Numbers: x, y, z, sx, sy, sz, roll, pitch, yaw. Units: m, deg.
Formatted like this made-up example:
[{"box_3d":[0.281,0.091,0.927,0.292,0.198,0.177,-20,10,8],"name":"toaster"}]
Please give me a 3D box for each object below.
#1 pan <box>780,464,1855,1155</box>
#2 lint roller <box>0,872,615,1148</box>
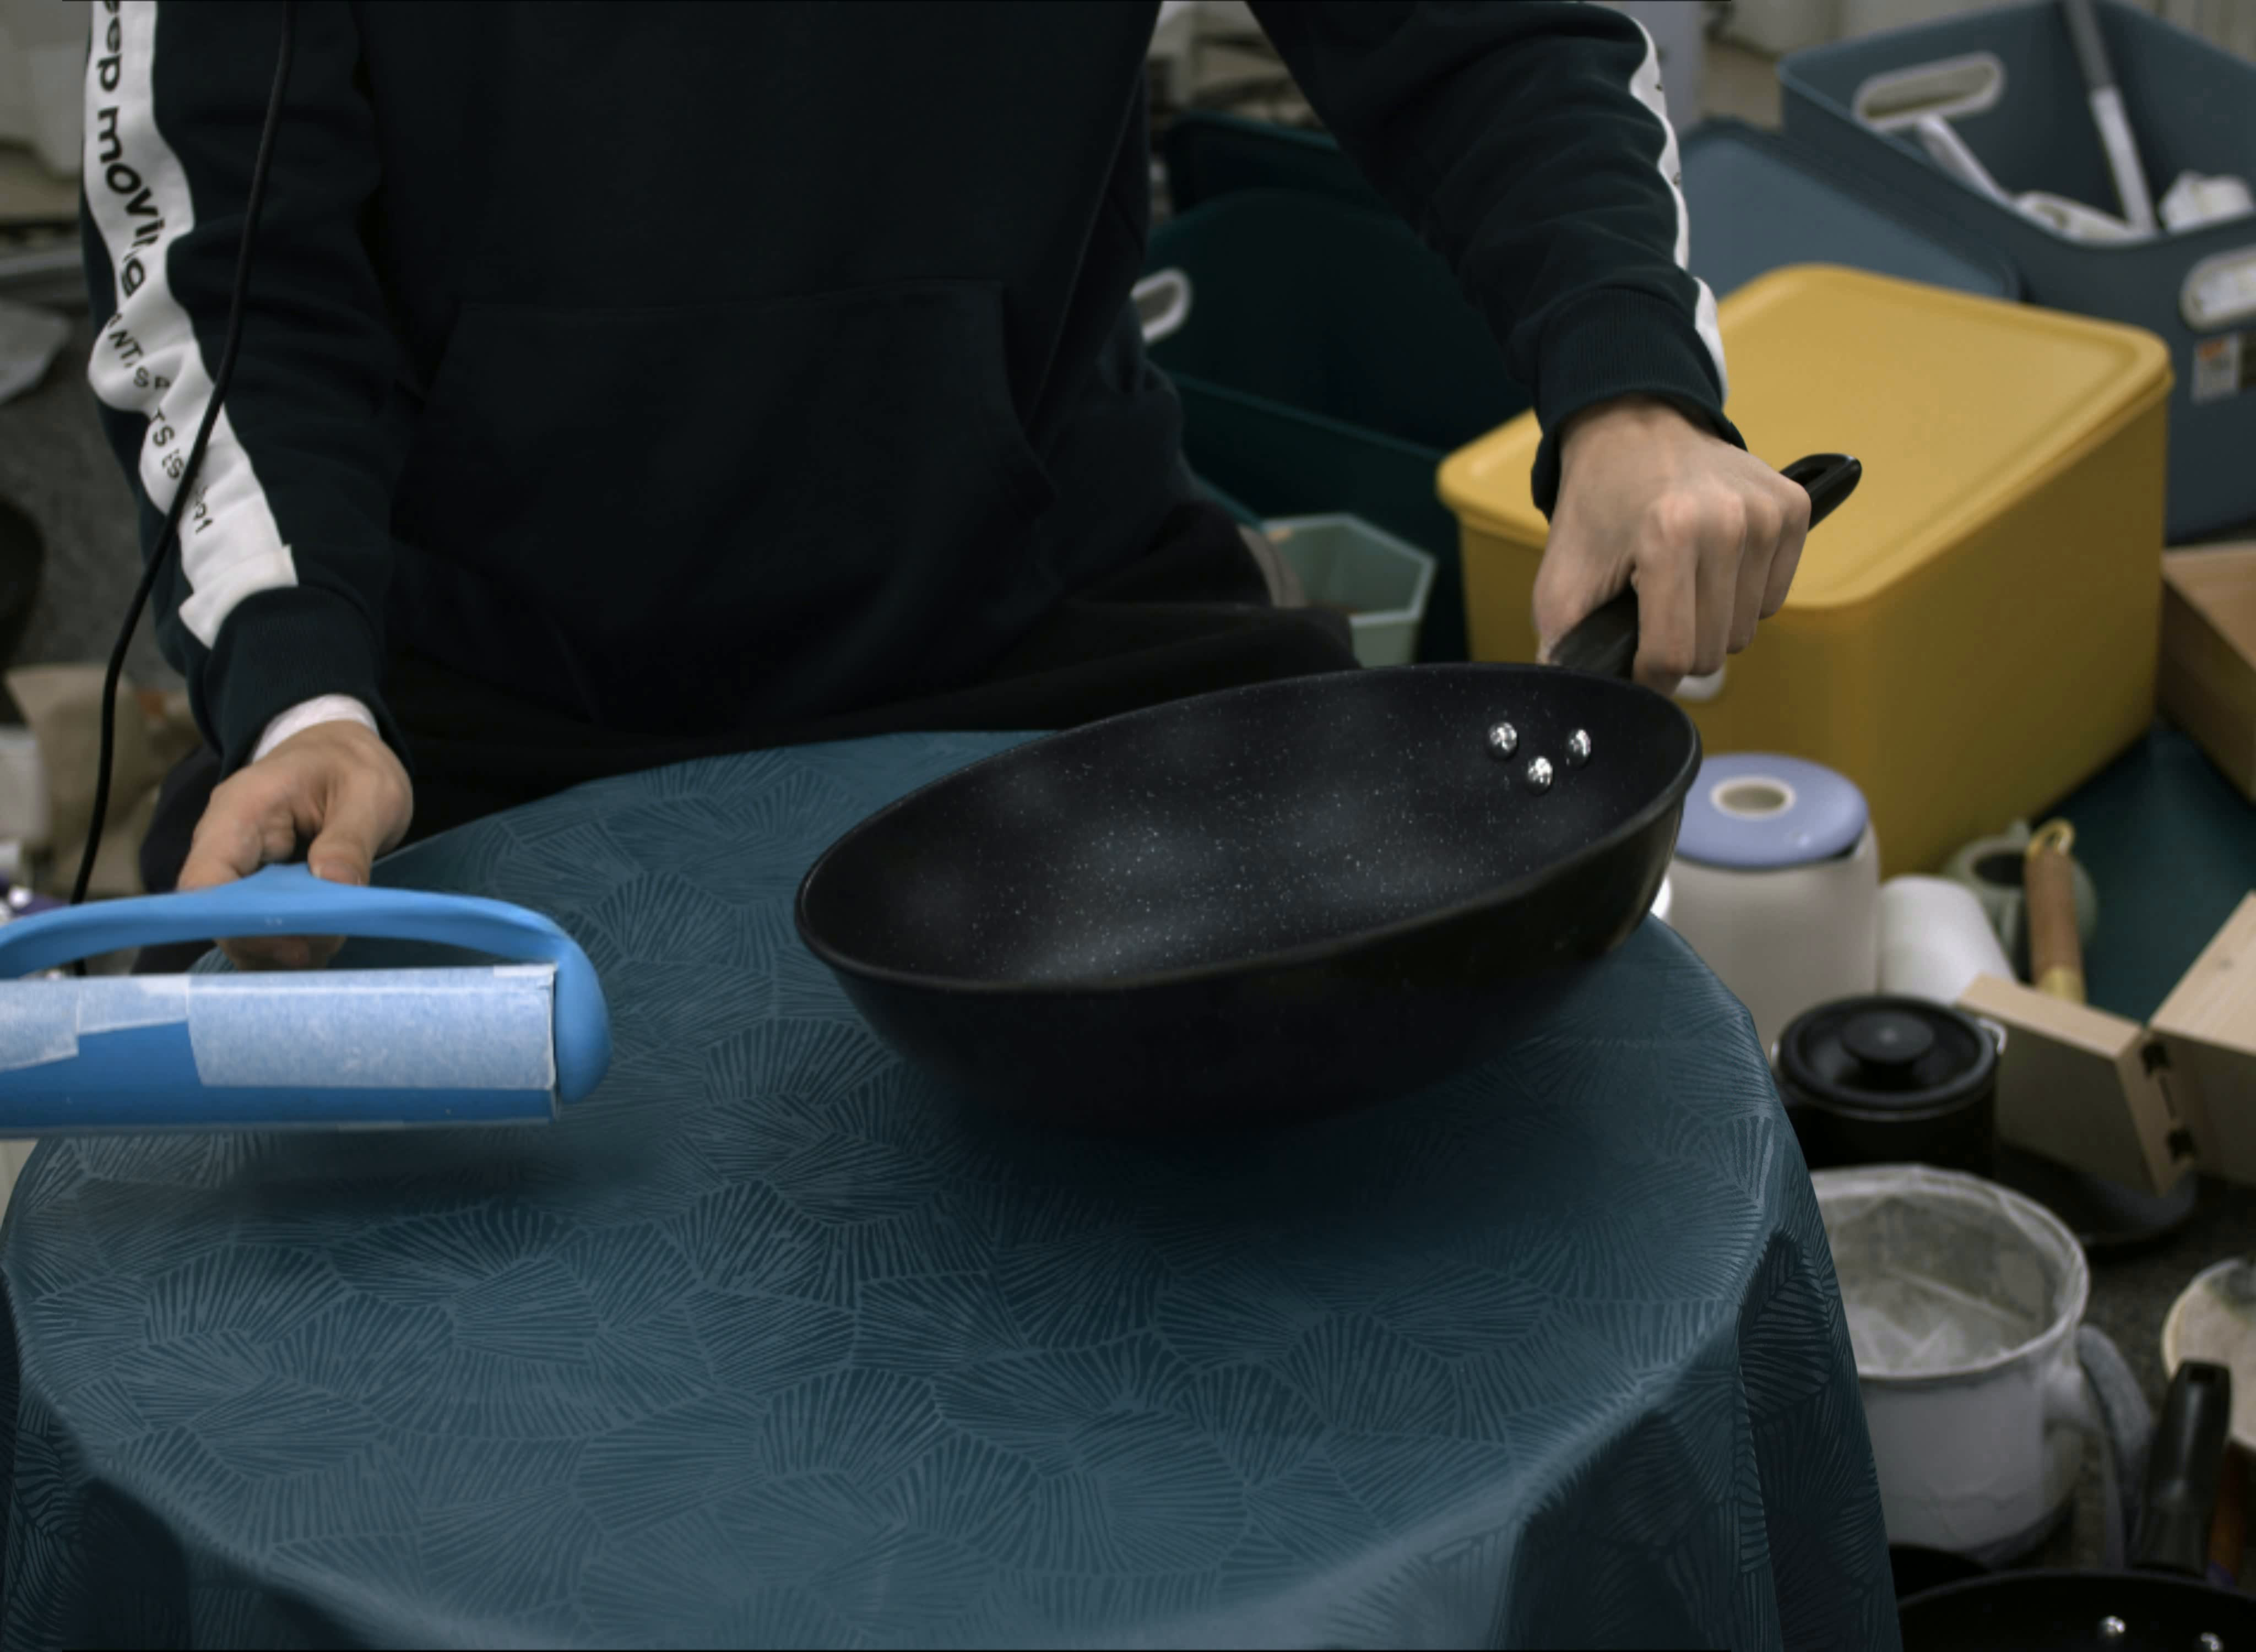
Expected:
[{"box_3d":[0.099,-0.001,1.930,0.482,0.111,0.308,-26,23,-39],"name":"pan"},{"box_3d":[-0.291,0.049,1.908,0.228,0.067,0.182,-4,26,-6],"name":"lint roller"}]
